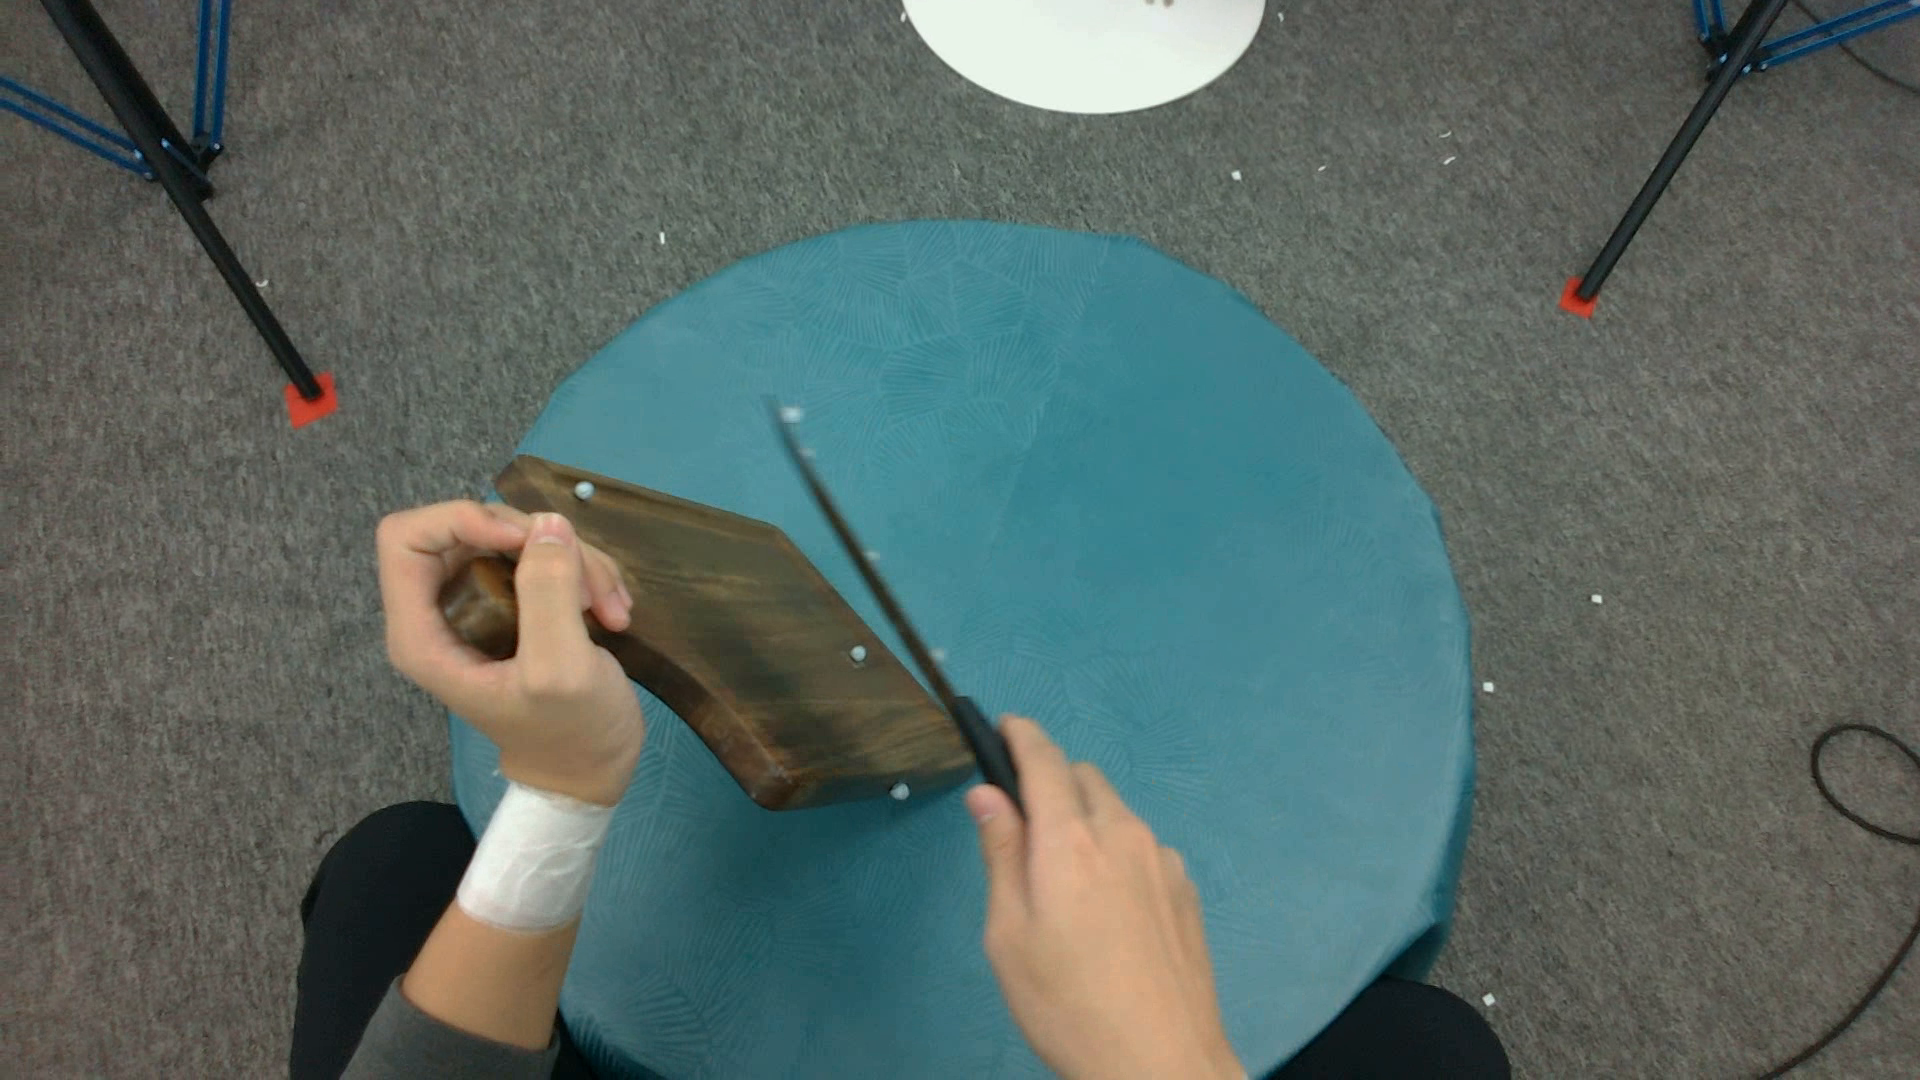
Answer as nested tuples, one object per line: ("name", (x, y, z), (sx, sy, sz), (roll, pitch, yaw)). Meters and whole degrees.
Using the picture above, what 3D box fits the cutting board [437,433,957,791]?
("cutting board", (-0.117, 0.032, 0.632), (0.023, 0.352, 0.201), (-47, 73, 8))

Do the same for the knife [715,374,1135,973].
("knife", (-0.023, 0.050, 0.583), (0.021, 0.080, 0.303), (-33, 68, -10))
